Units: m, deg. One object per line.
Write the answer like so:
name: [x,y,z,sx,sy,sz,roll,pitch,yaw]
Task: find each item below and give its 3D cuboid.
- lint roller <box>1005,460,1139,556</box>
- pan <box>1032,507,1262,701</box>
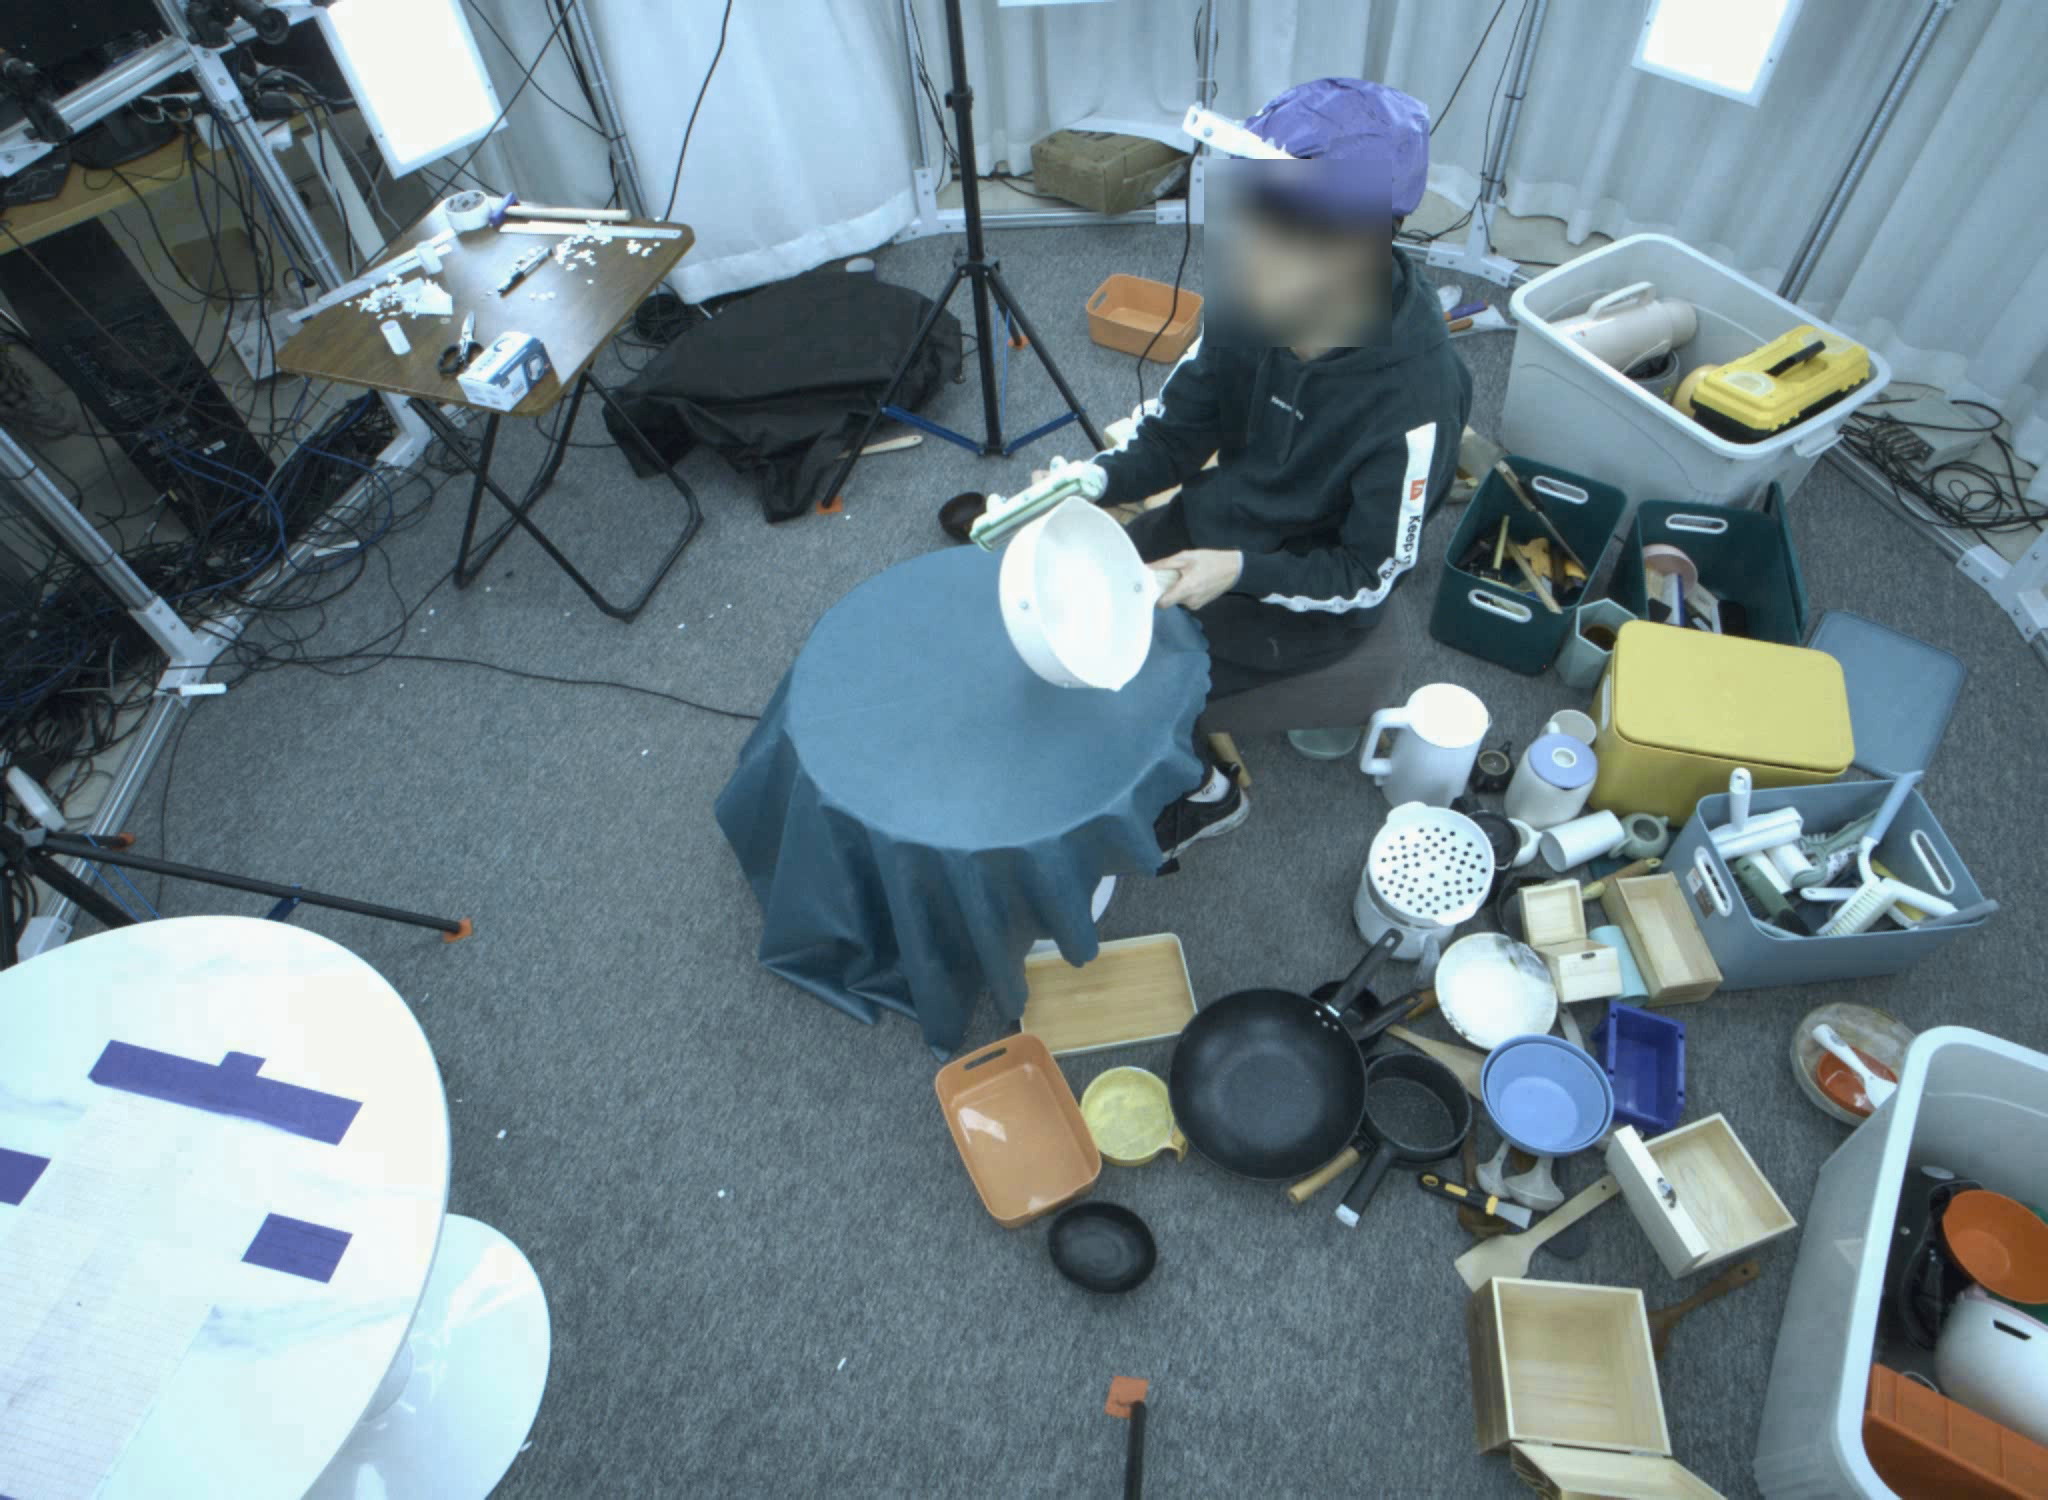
lint roller: [0.084,-0.355,1.733,0.196,0.082,0.185,-23,10,33]
pan: [0.175,-0.204,1.698,0.442,0.100,0.264,-17,94,-47]
